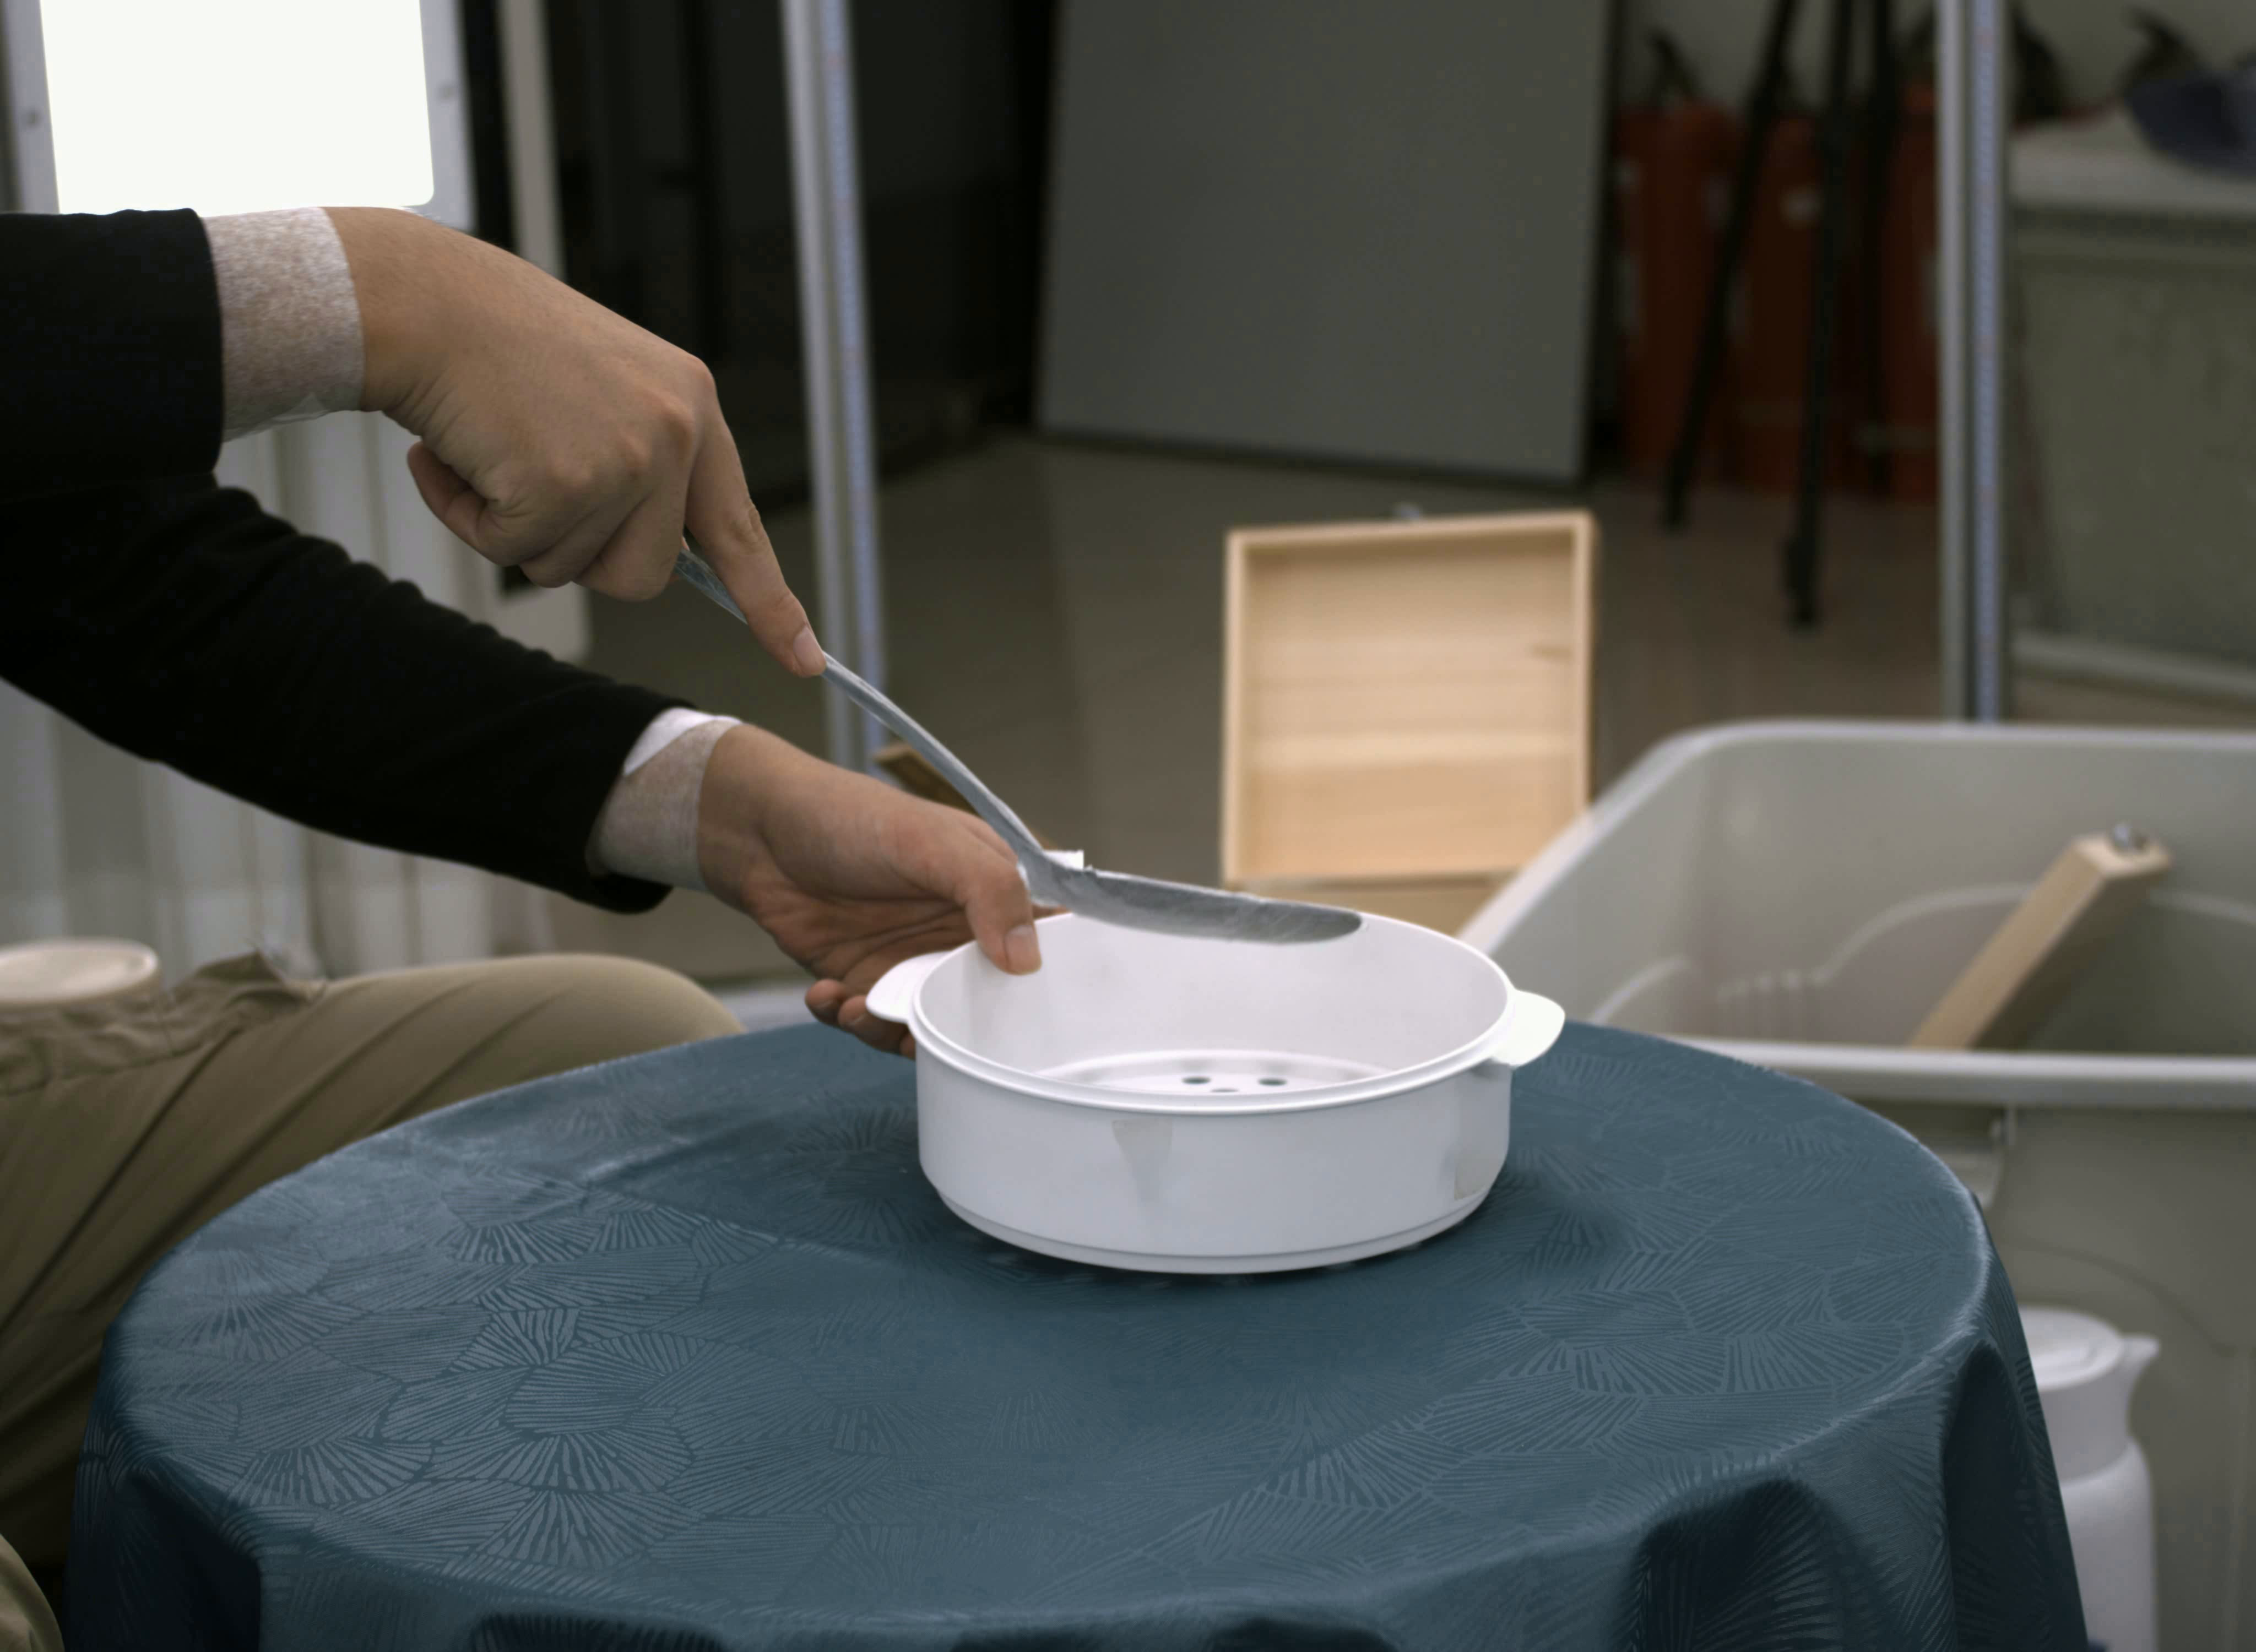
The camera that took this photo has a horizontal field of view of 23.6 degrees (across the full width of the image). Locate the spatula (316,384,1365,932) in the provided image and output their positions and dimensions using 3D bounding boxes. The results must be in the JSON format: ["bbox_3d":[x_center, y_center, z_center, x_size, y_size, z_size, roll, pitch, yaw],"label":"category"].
[{"bbox_3d":[-0.085,-0.050,1.653,0.360,0.045,0.099,35,-15,-17],"label":"spatula"}]

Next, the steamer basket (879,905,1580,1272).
[{"bbox_3d":[0.033,0.084,1.747,0.230,0.070,0.200,3,16,16],"label":"steamer basket"}]
